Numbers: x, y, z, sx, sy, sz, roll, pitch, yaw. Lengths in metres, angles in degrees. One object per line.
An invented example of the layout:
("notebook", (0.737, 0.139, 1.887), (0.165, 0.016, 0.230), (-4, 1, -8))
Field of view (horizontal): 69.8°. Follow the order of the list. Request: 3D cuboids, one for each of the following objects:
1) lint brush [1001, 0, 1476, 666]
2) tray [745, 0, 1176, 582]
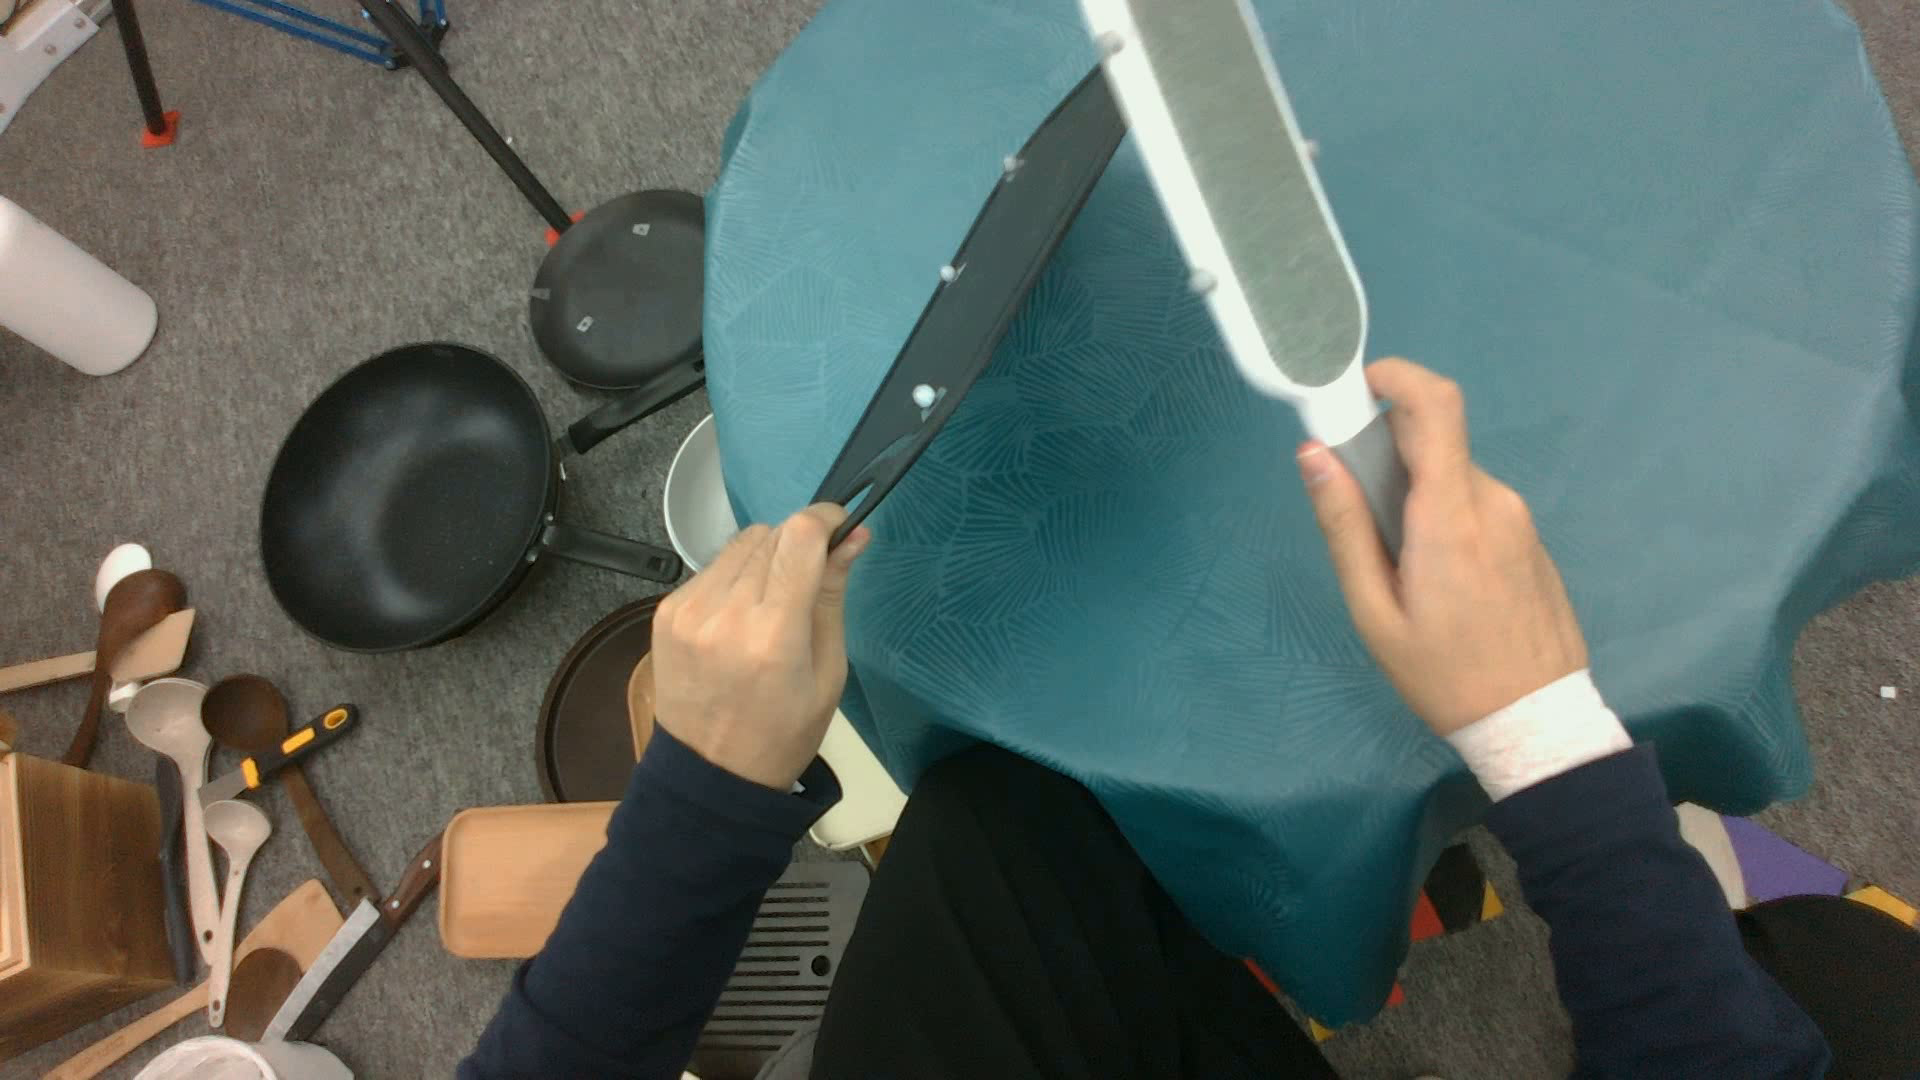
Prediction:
("lint brush", (0.107, -0.076, 0.492), (0.060, 0.021, 0.308), (-42, 107, -26))
("tray", (0.001, -0.119, 0.597), (0.010, 0.210, 0.327), (35, 64, -14))
